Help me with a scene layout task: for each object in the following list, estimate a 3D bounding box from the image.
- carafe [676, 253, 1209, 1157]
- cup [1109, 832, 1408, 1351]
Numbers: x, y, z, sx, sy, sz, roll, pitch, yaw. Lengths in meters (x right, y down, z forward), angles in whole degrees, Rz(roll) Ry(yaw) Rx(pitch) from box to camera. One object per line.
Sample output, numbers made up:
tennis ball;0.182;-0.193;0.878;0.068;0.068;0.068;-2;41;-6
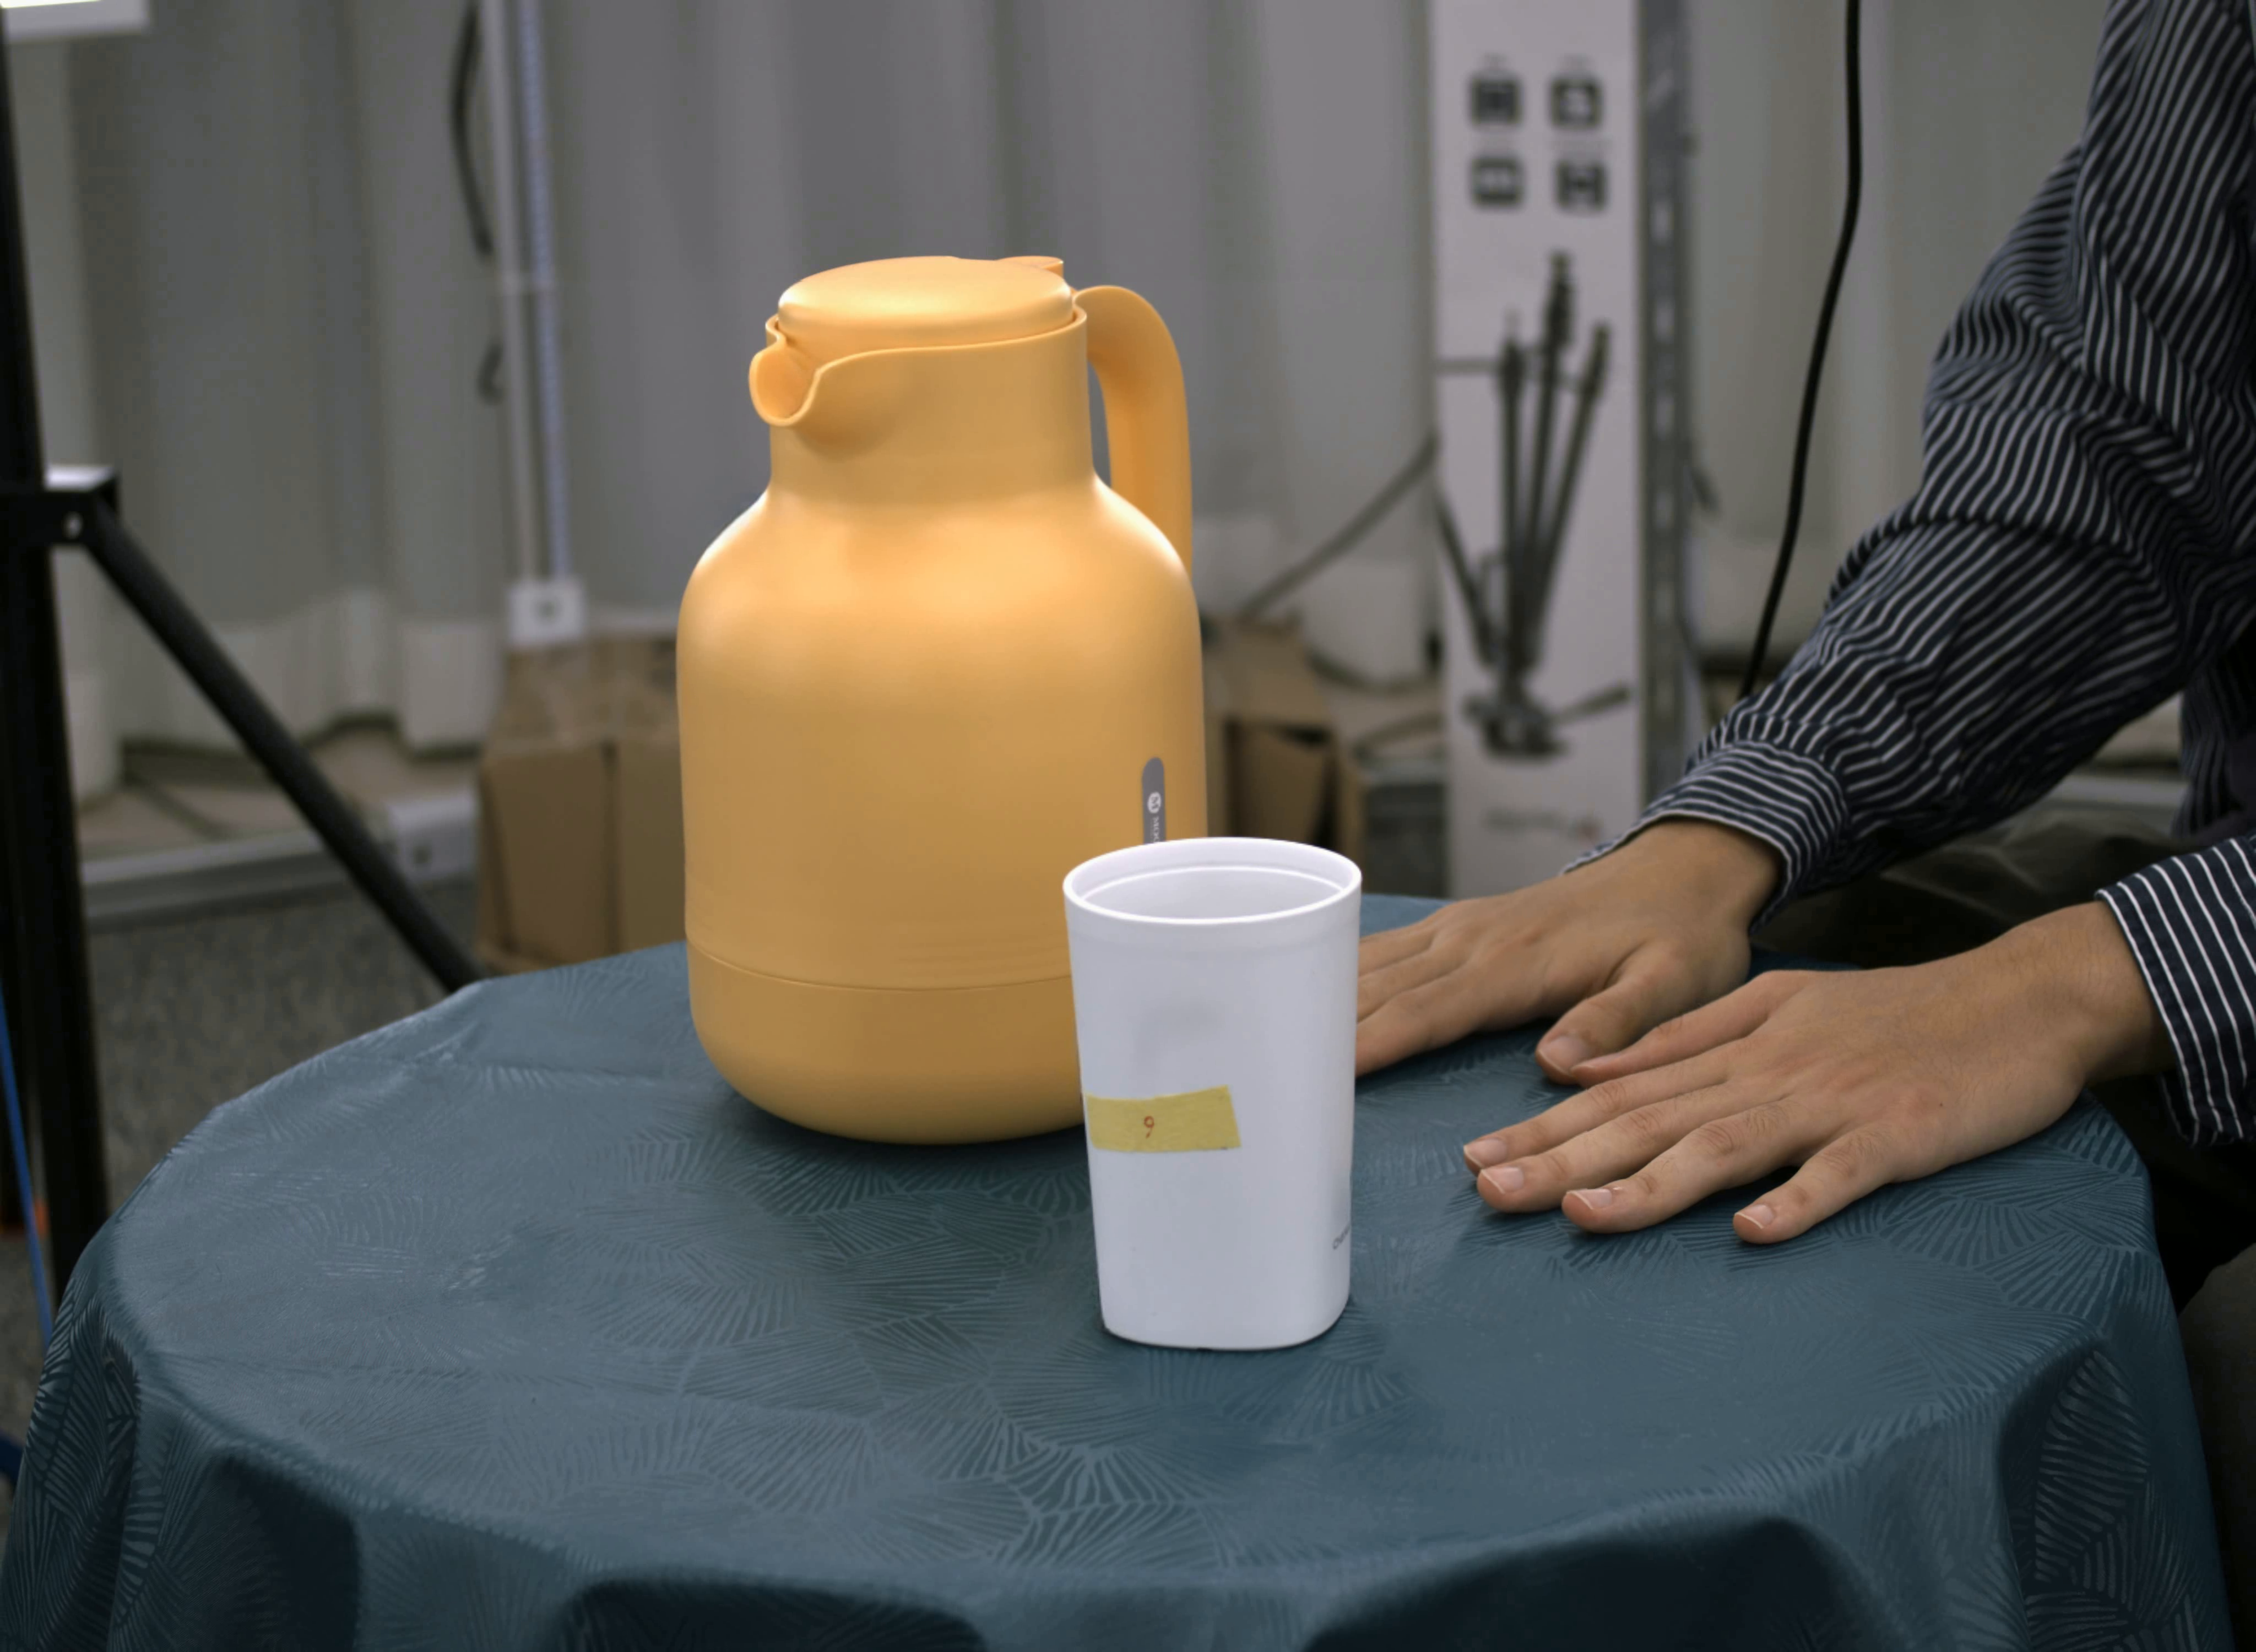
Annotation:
carafe;-0.045;-0.044;1.630;0.166;0.260;0.198;10;19;32
cup;0.037;0.073;1.444;0.081;0.125;0.082;-2;15;-1
